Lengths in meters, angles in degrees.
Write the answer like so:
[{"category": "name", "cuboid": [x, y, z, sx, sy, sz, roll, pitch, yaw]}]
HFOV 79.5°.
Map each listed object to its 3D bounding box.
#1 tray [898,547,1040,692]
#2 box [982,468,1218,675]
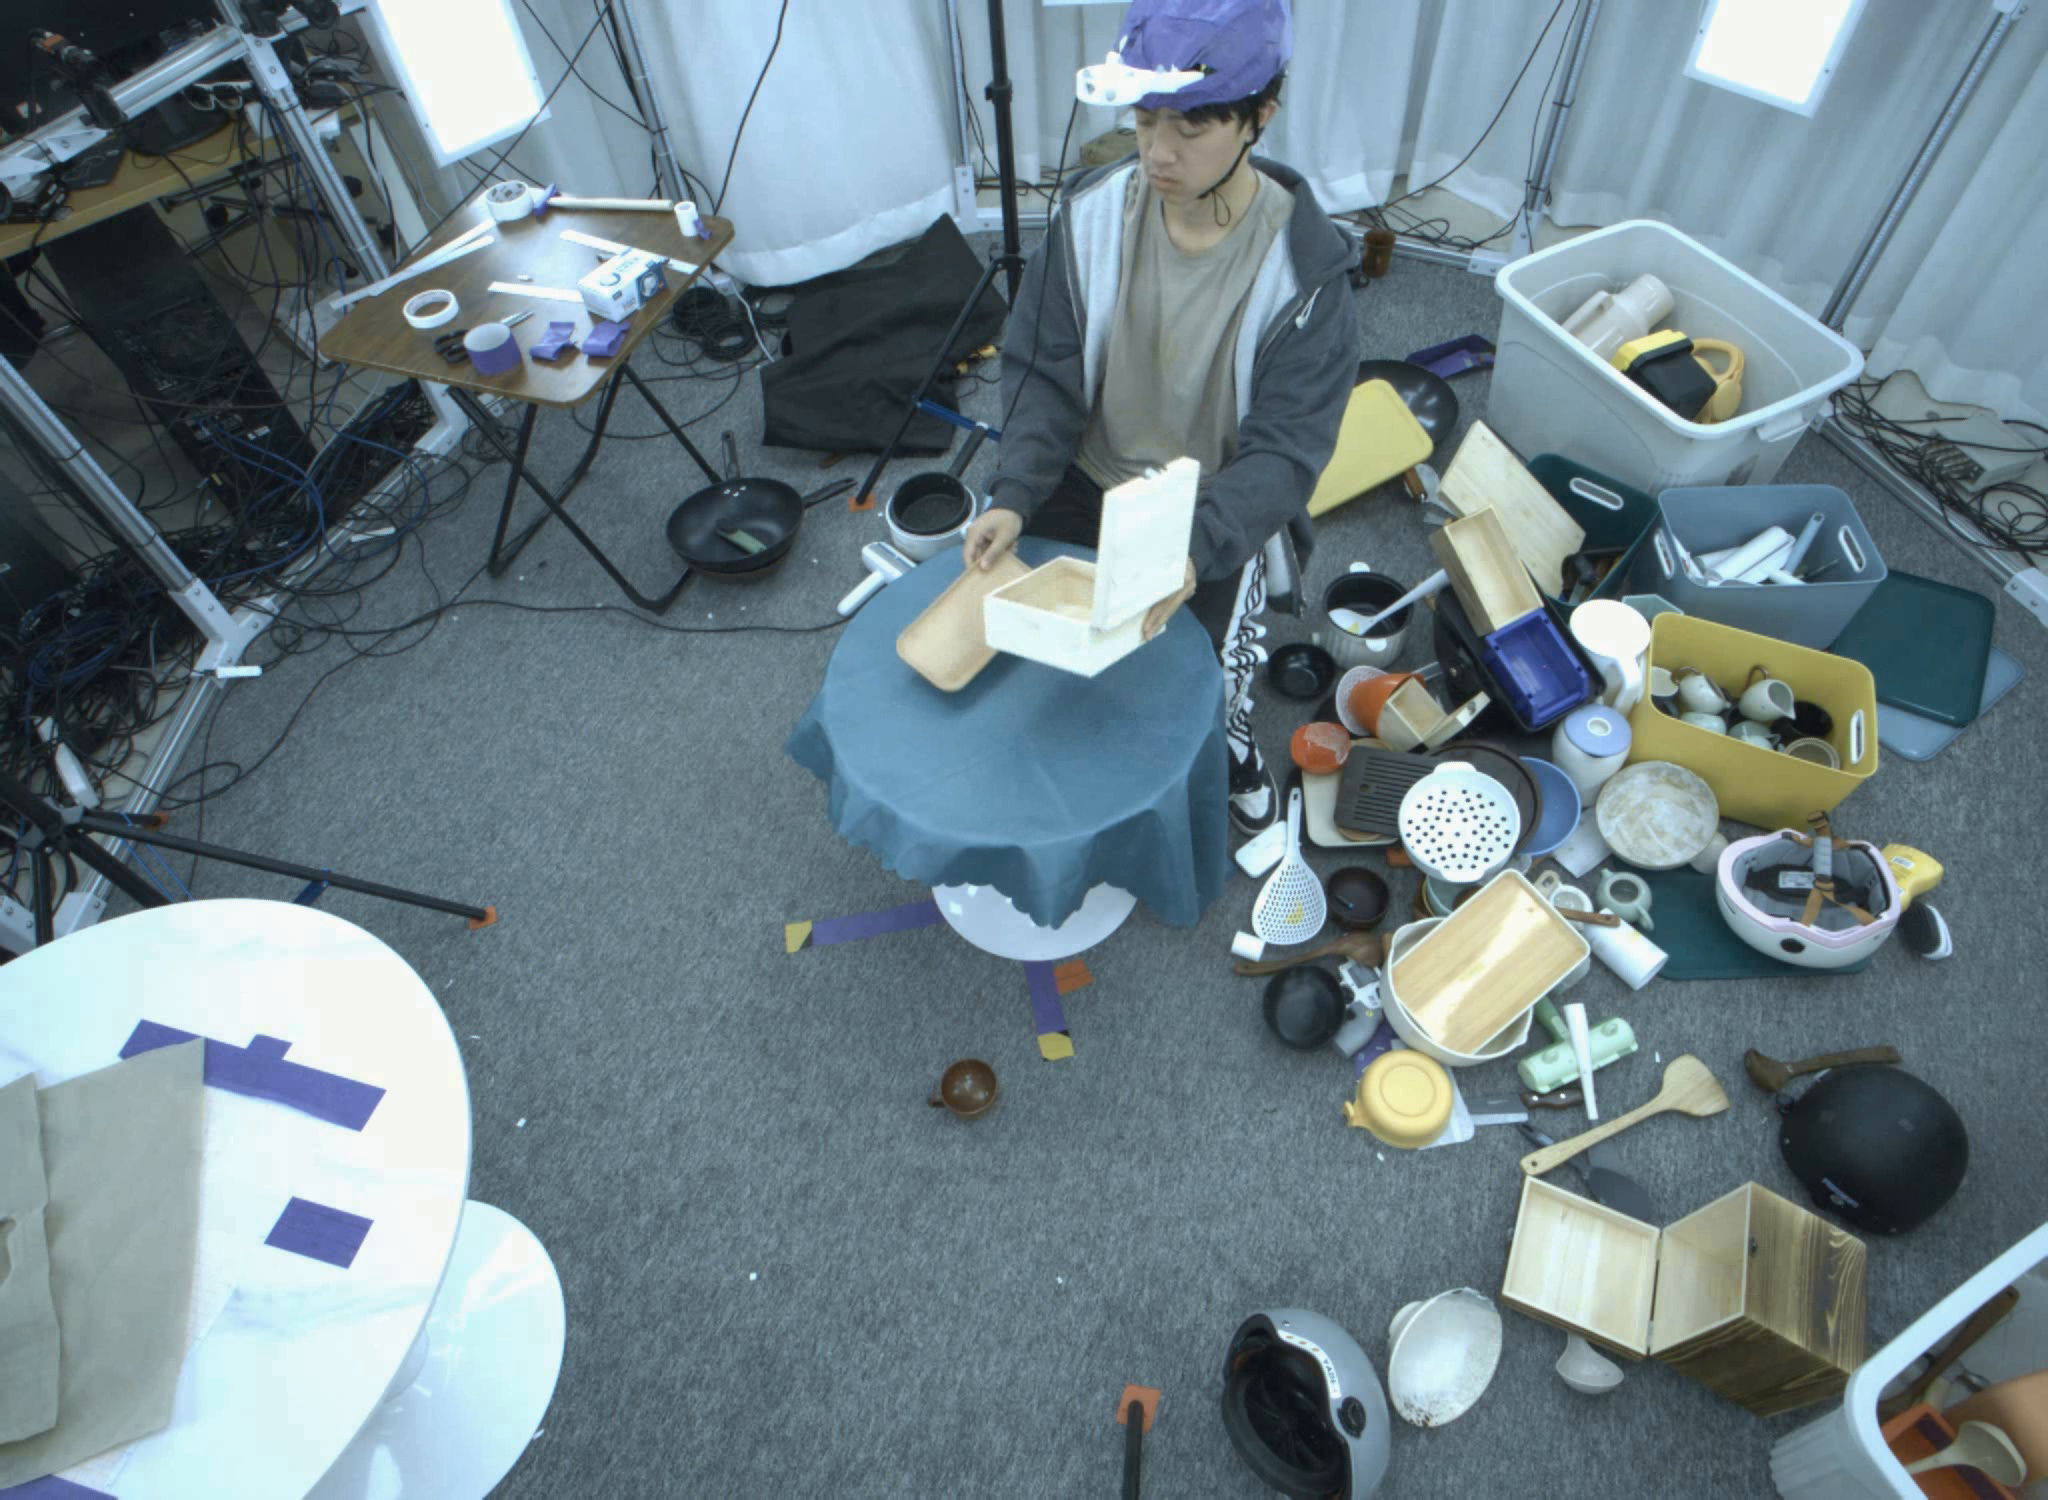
[{"category": "tray", "cuboid": [-0.073, -0.200, 1.863, 0.130, 0.023, 0.252, 40, 68, 6]}, {"category": "box", "cuboid": [0.094, -0.256, 1.645, 0.259, 0.255, 0.184, 19, 34, 32]}]
